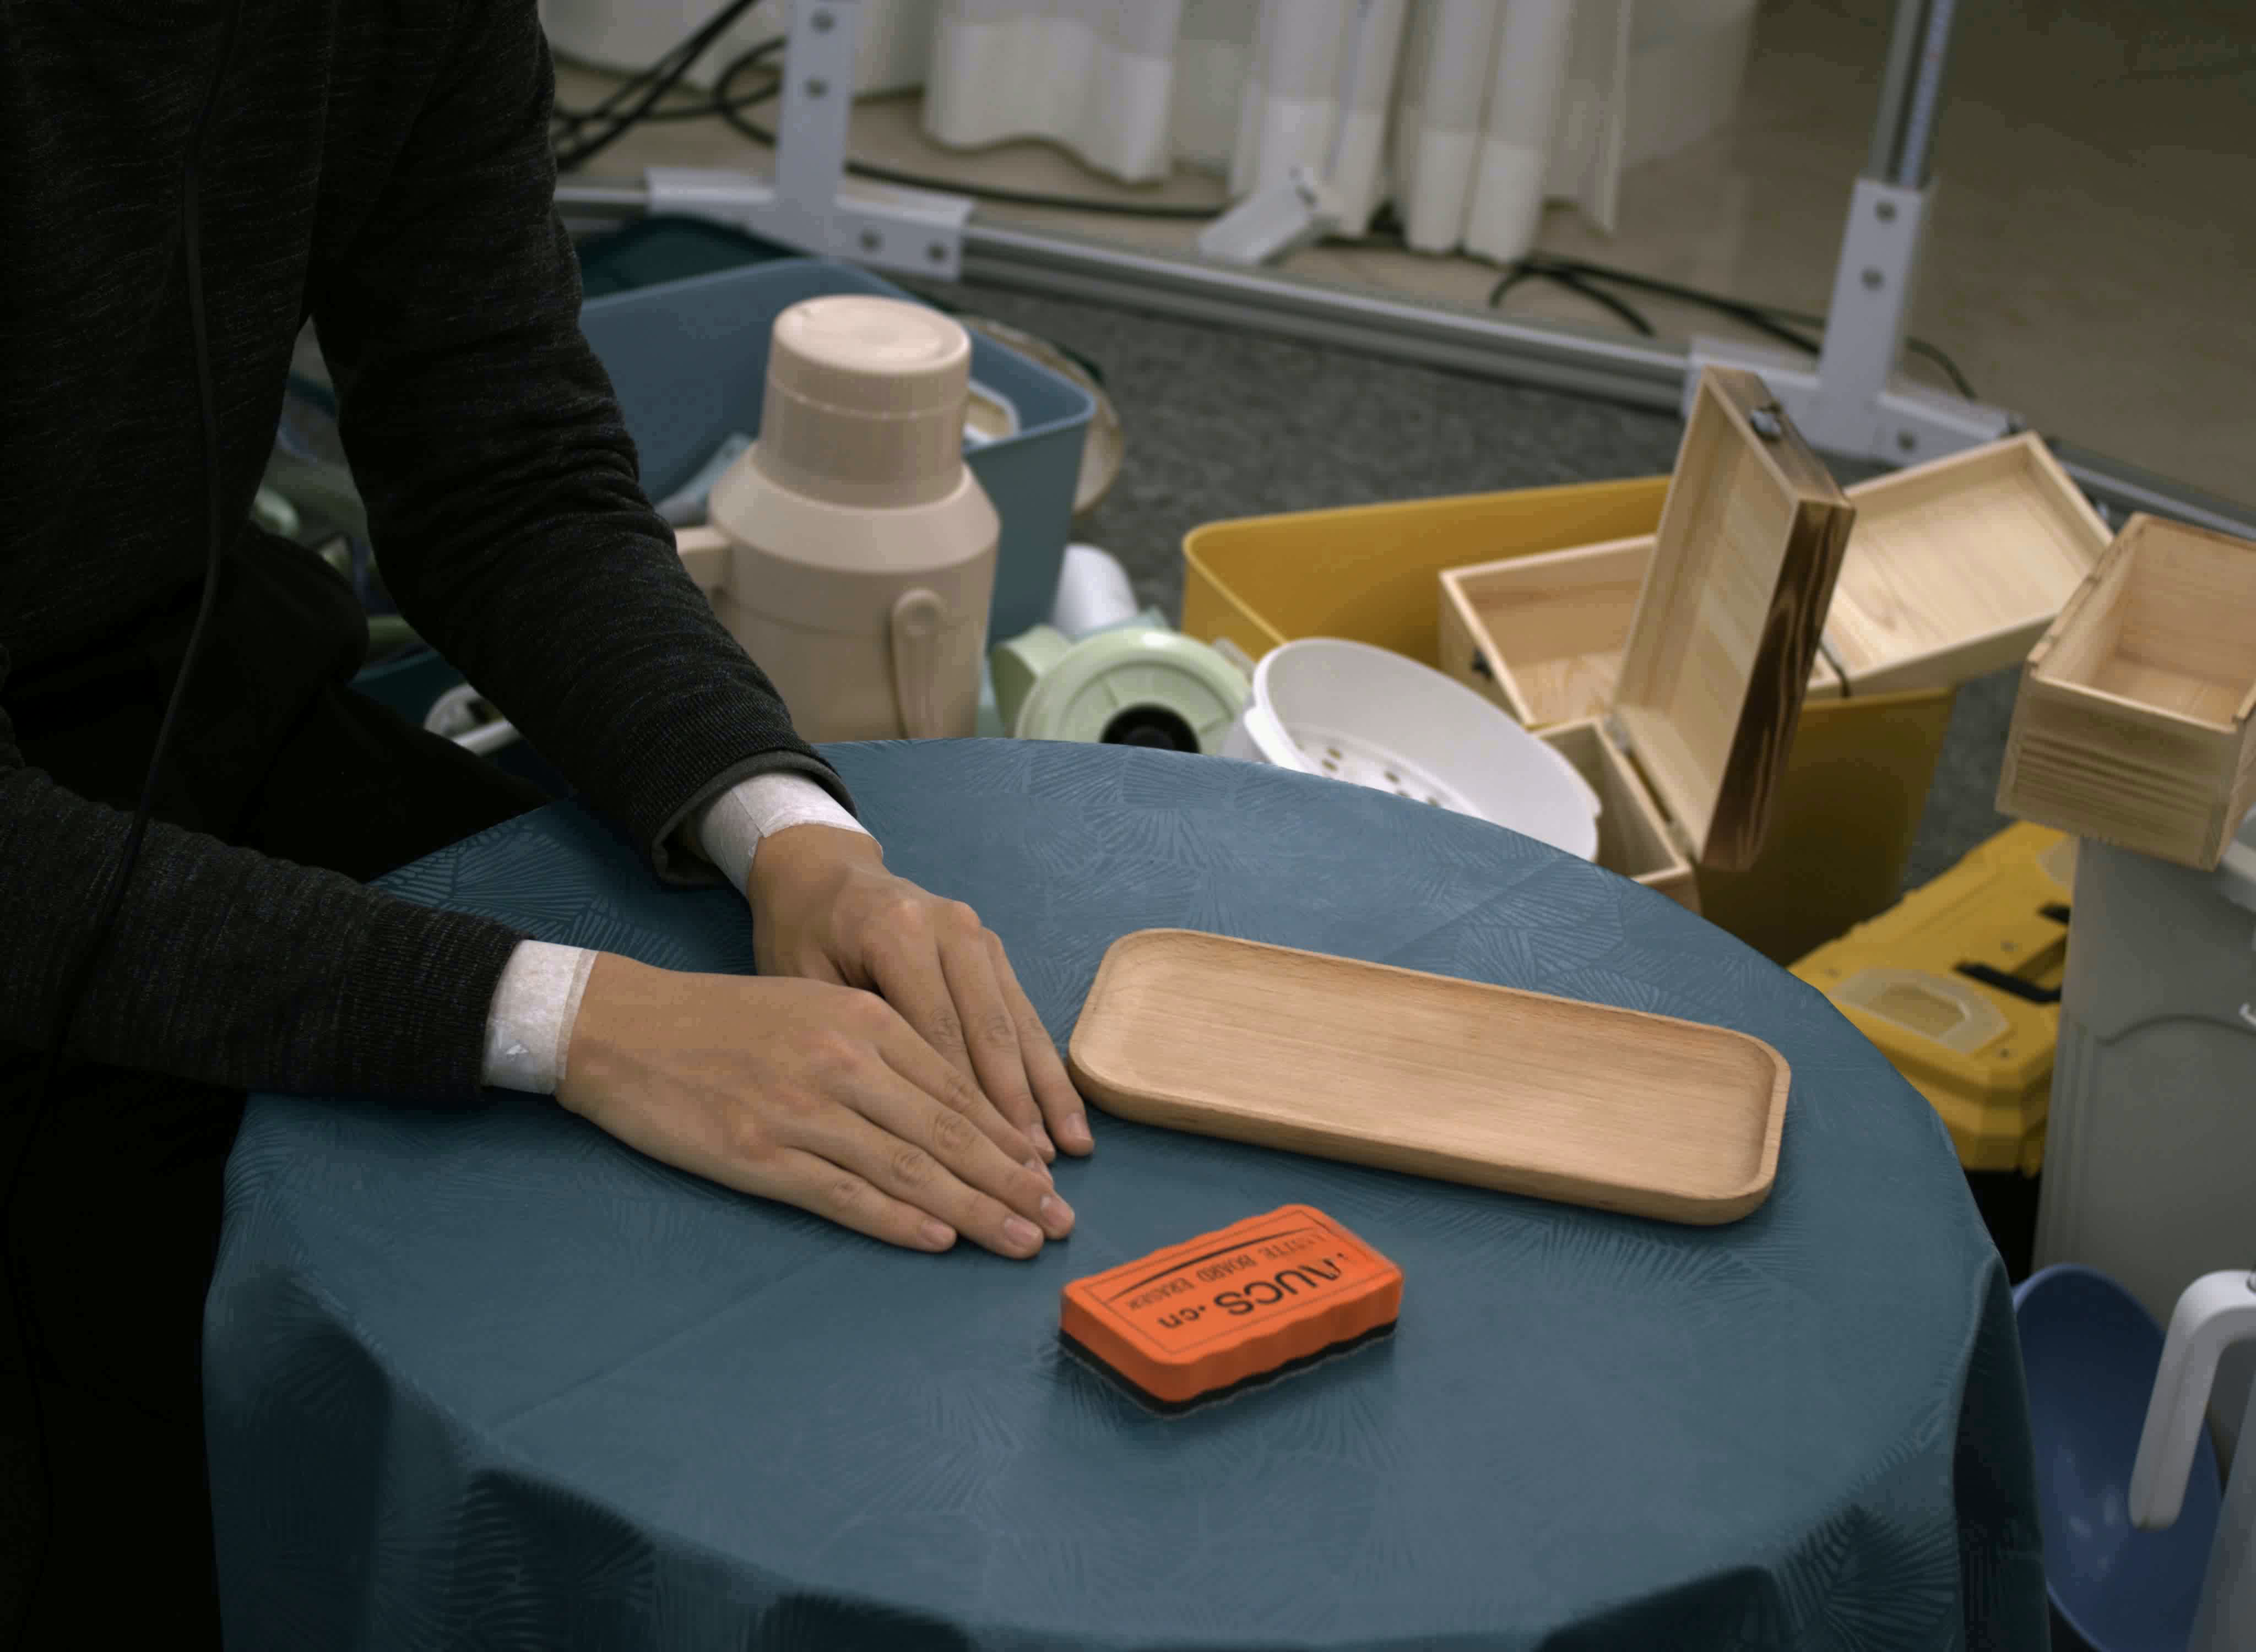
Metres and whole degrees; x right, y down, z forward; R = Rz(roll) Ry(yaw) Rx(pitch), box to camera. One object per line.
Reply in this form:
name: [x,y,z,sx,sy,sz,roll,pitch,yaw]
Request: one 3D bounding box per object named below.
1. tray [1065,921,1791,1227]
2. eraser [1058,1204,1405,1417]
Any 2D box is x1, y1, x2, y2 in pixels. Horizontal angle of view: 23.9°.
tray: [0.106,0.087,1.878,0.250,0.023,0.131,10,25,9]
eraser: [0.034,0.156,1.719,0.107,0.023,0.059,-15,33,-36]
